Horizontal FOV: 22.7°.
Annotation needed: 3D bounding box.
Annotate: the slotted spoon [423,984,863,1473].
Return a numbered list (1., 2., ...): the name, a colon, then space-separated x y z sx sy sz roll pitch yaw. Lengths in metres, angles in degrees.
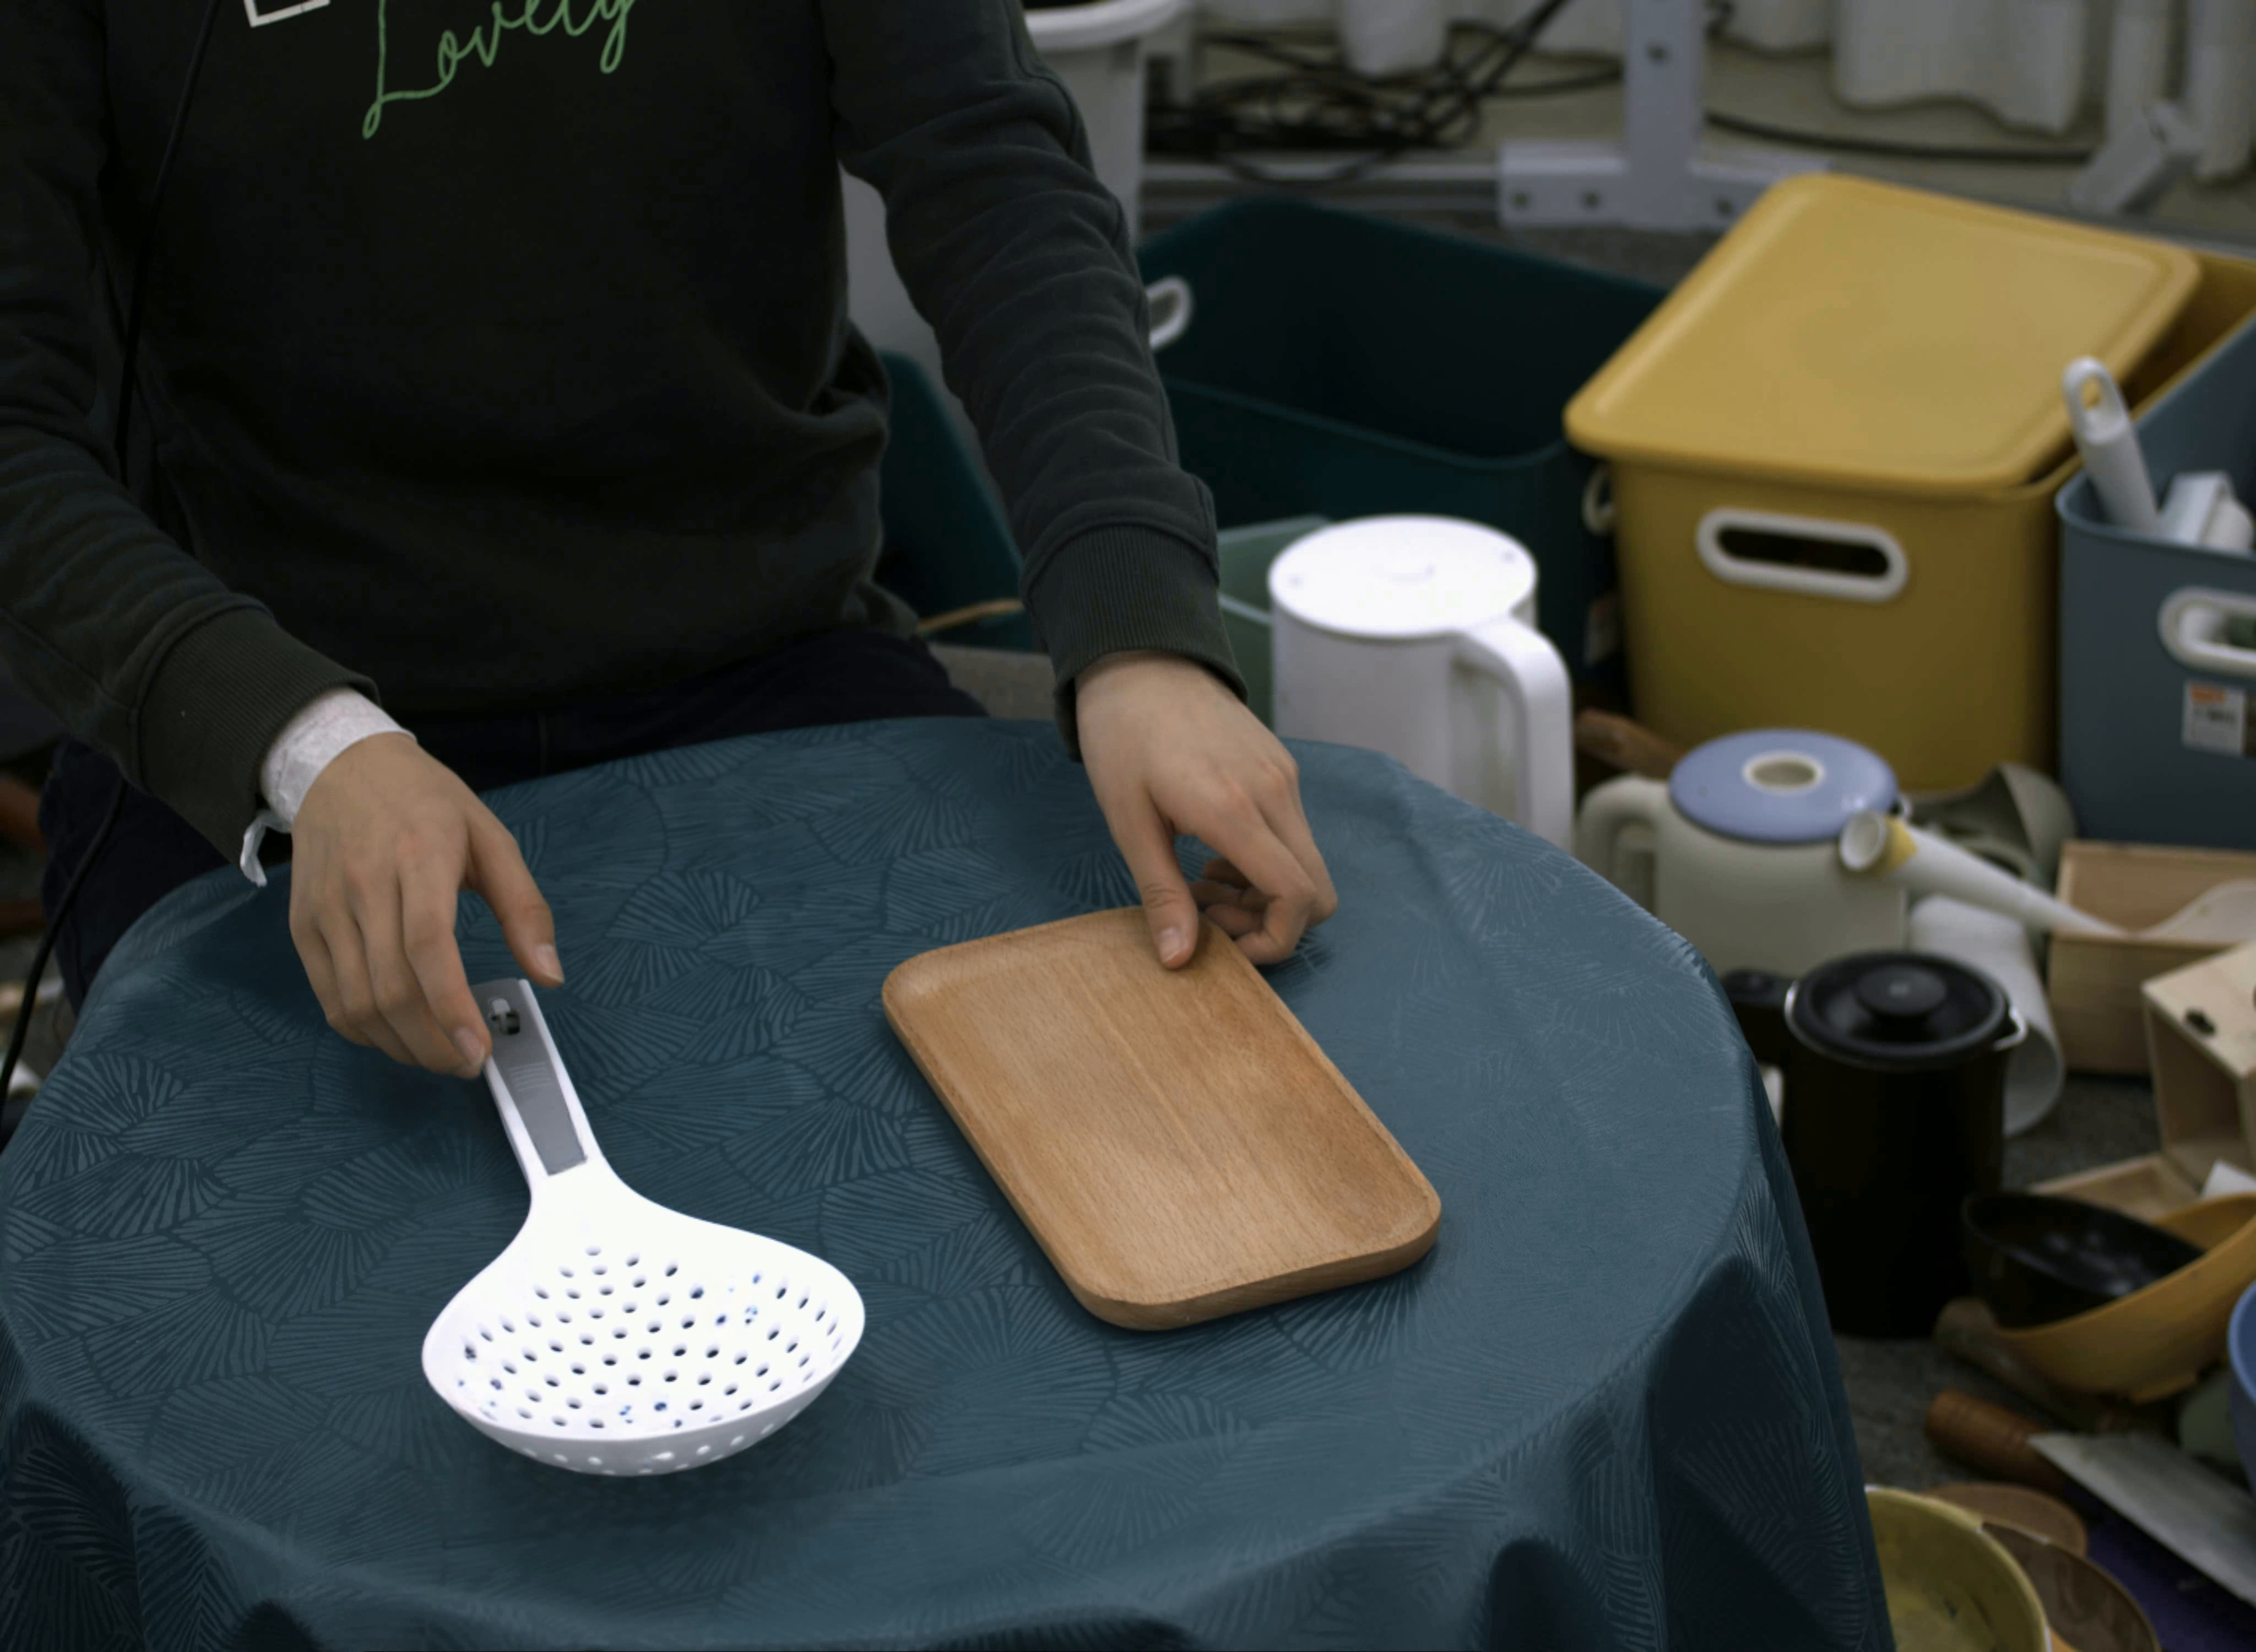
1. slotted spoon: -0.177 0.124 1.825 0.136 0.045 0.353 -7 27 -13

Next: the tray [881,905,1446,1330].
1. tray: 0.008 0.095 1.893 0.131 0.022 0.253 -10 27 -17
